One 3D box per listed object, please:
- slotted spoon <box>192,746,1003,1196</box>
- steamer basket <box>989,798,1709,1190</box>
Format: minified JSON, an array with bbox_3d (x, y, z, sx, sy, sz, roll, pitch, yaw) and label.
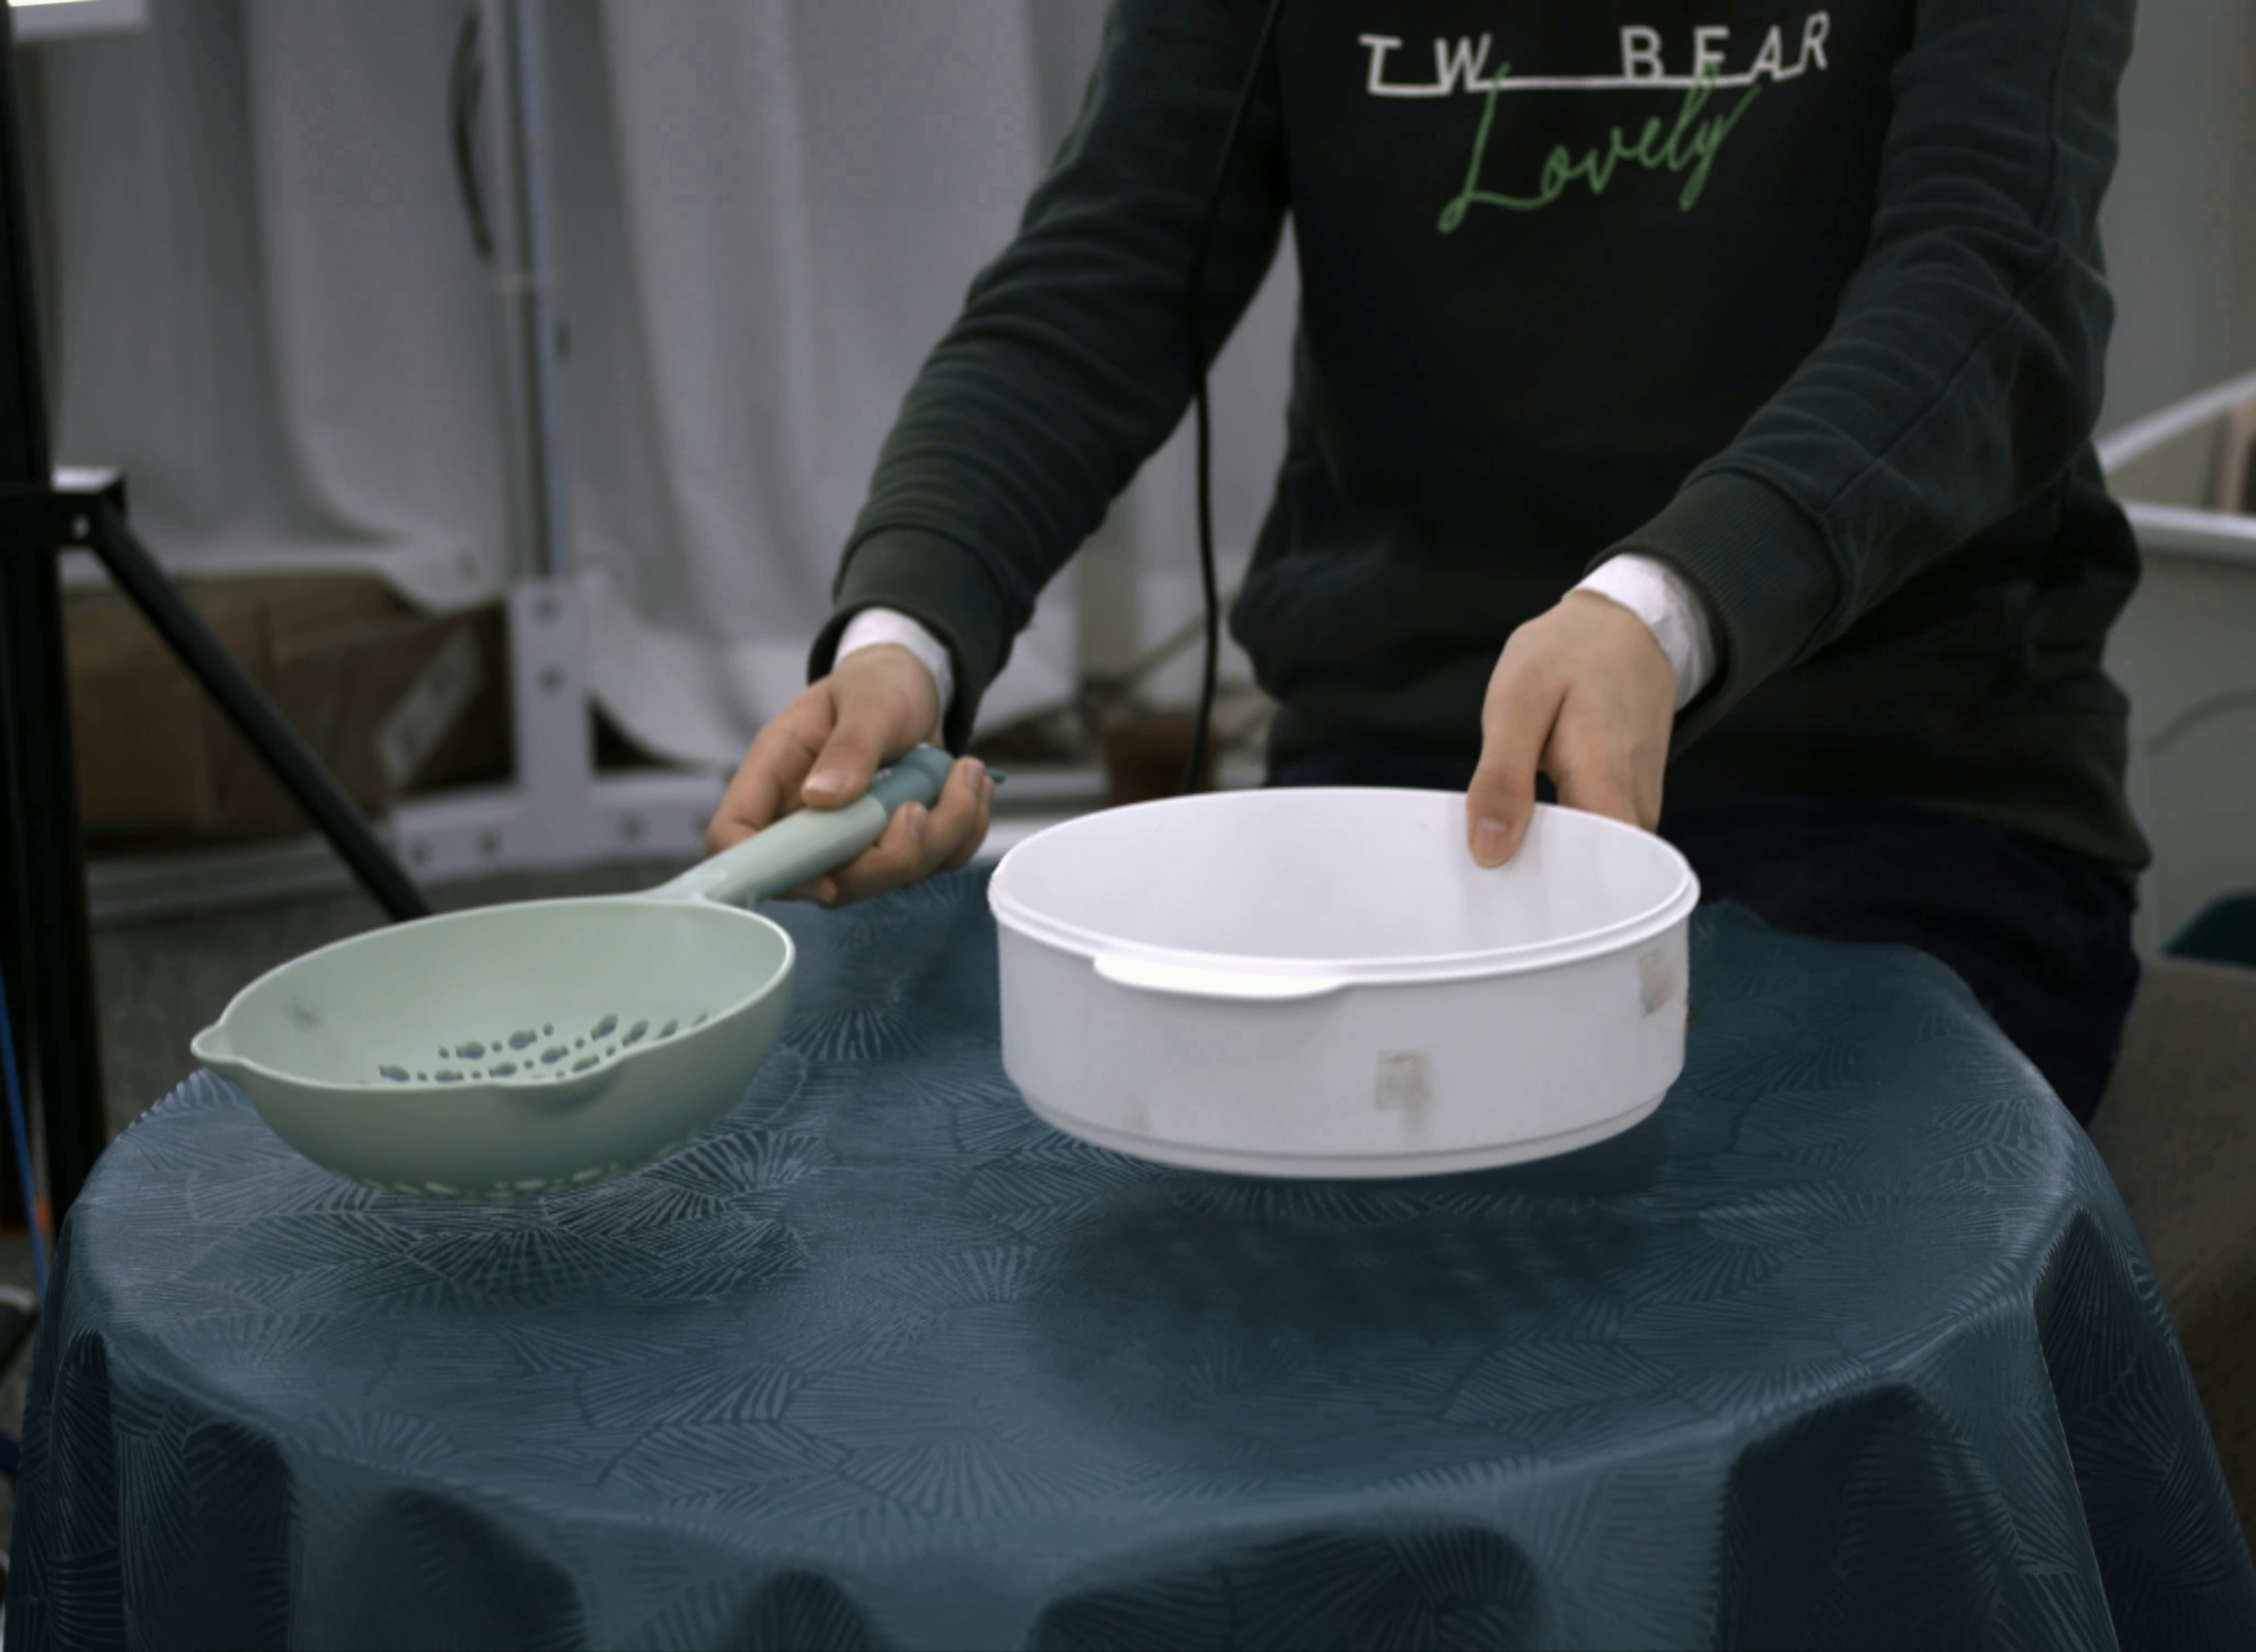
[{"bbox_3d":[-0.133,0.029,1.635,0.172,0.075,0.354,3,26,29],"label":"slotted spoon"},{"bbox_3d":[0.061,0.047,1.492,0.204,0.069,0.227,7,14,21],"label":"steamer basket"}]
